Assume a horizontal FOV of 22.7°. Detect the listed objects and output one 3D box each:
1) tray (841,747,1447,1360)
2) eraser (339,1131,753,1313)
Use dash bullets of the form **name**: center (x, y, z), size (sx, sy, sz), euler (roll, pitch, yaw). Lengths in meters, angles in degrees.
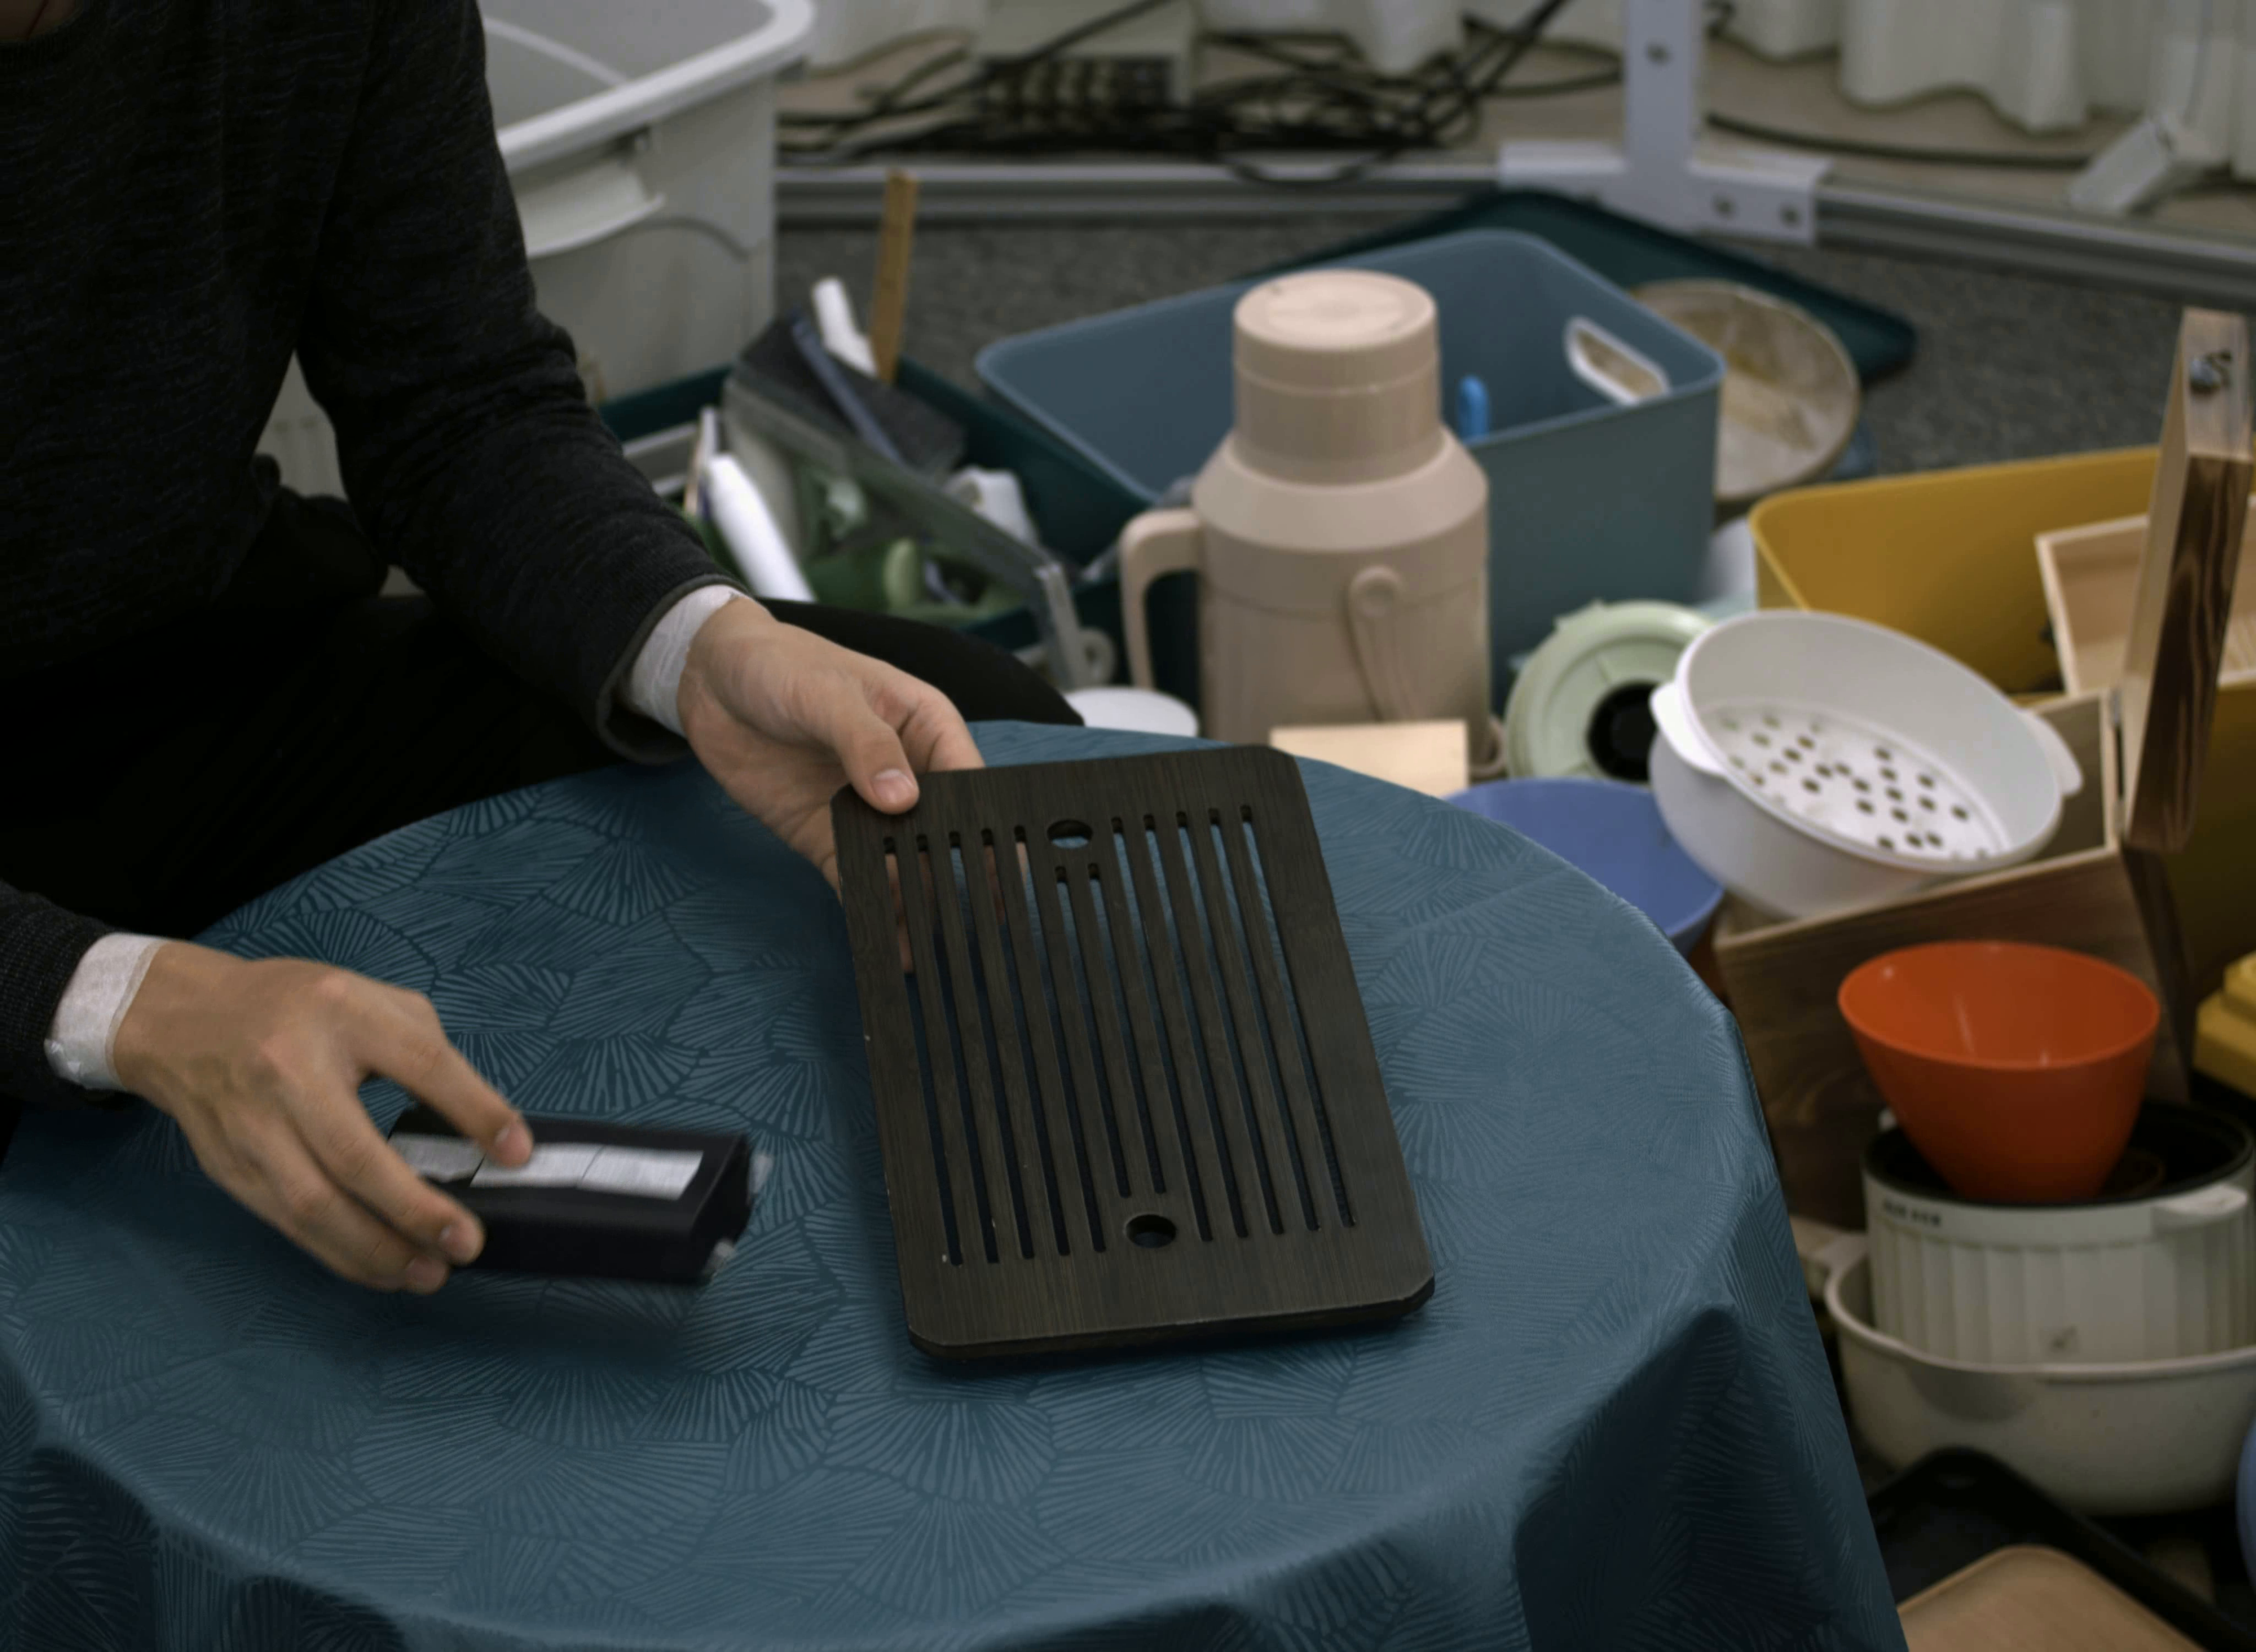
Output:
- **tray**: center (0.000, 0.073, 1.892), size (0.169, 0.018, 0.311), euler (-5, 35, -6)
- **eraser**: center (-0.184, 0.126, 1.786), size (0.124, 0.030, 0.054), euler (3, 33, 19)
